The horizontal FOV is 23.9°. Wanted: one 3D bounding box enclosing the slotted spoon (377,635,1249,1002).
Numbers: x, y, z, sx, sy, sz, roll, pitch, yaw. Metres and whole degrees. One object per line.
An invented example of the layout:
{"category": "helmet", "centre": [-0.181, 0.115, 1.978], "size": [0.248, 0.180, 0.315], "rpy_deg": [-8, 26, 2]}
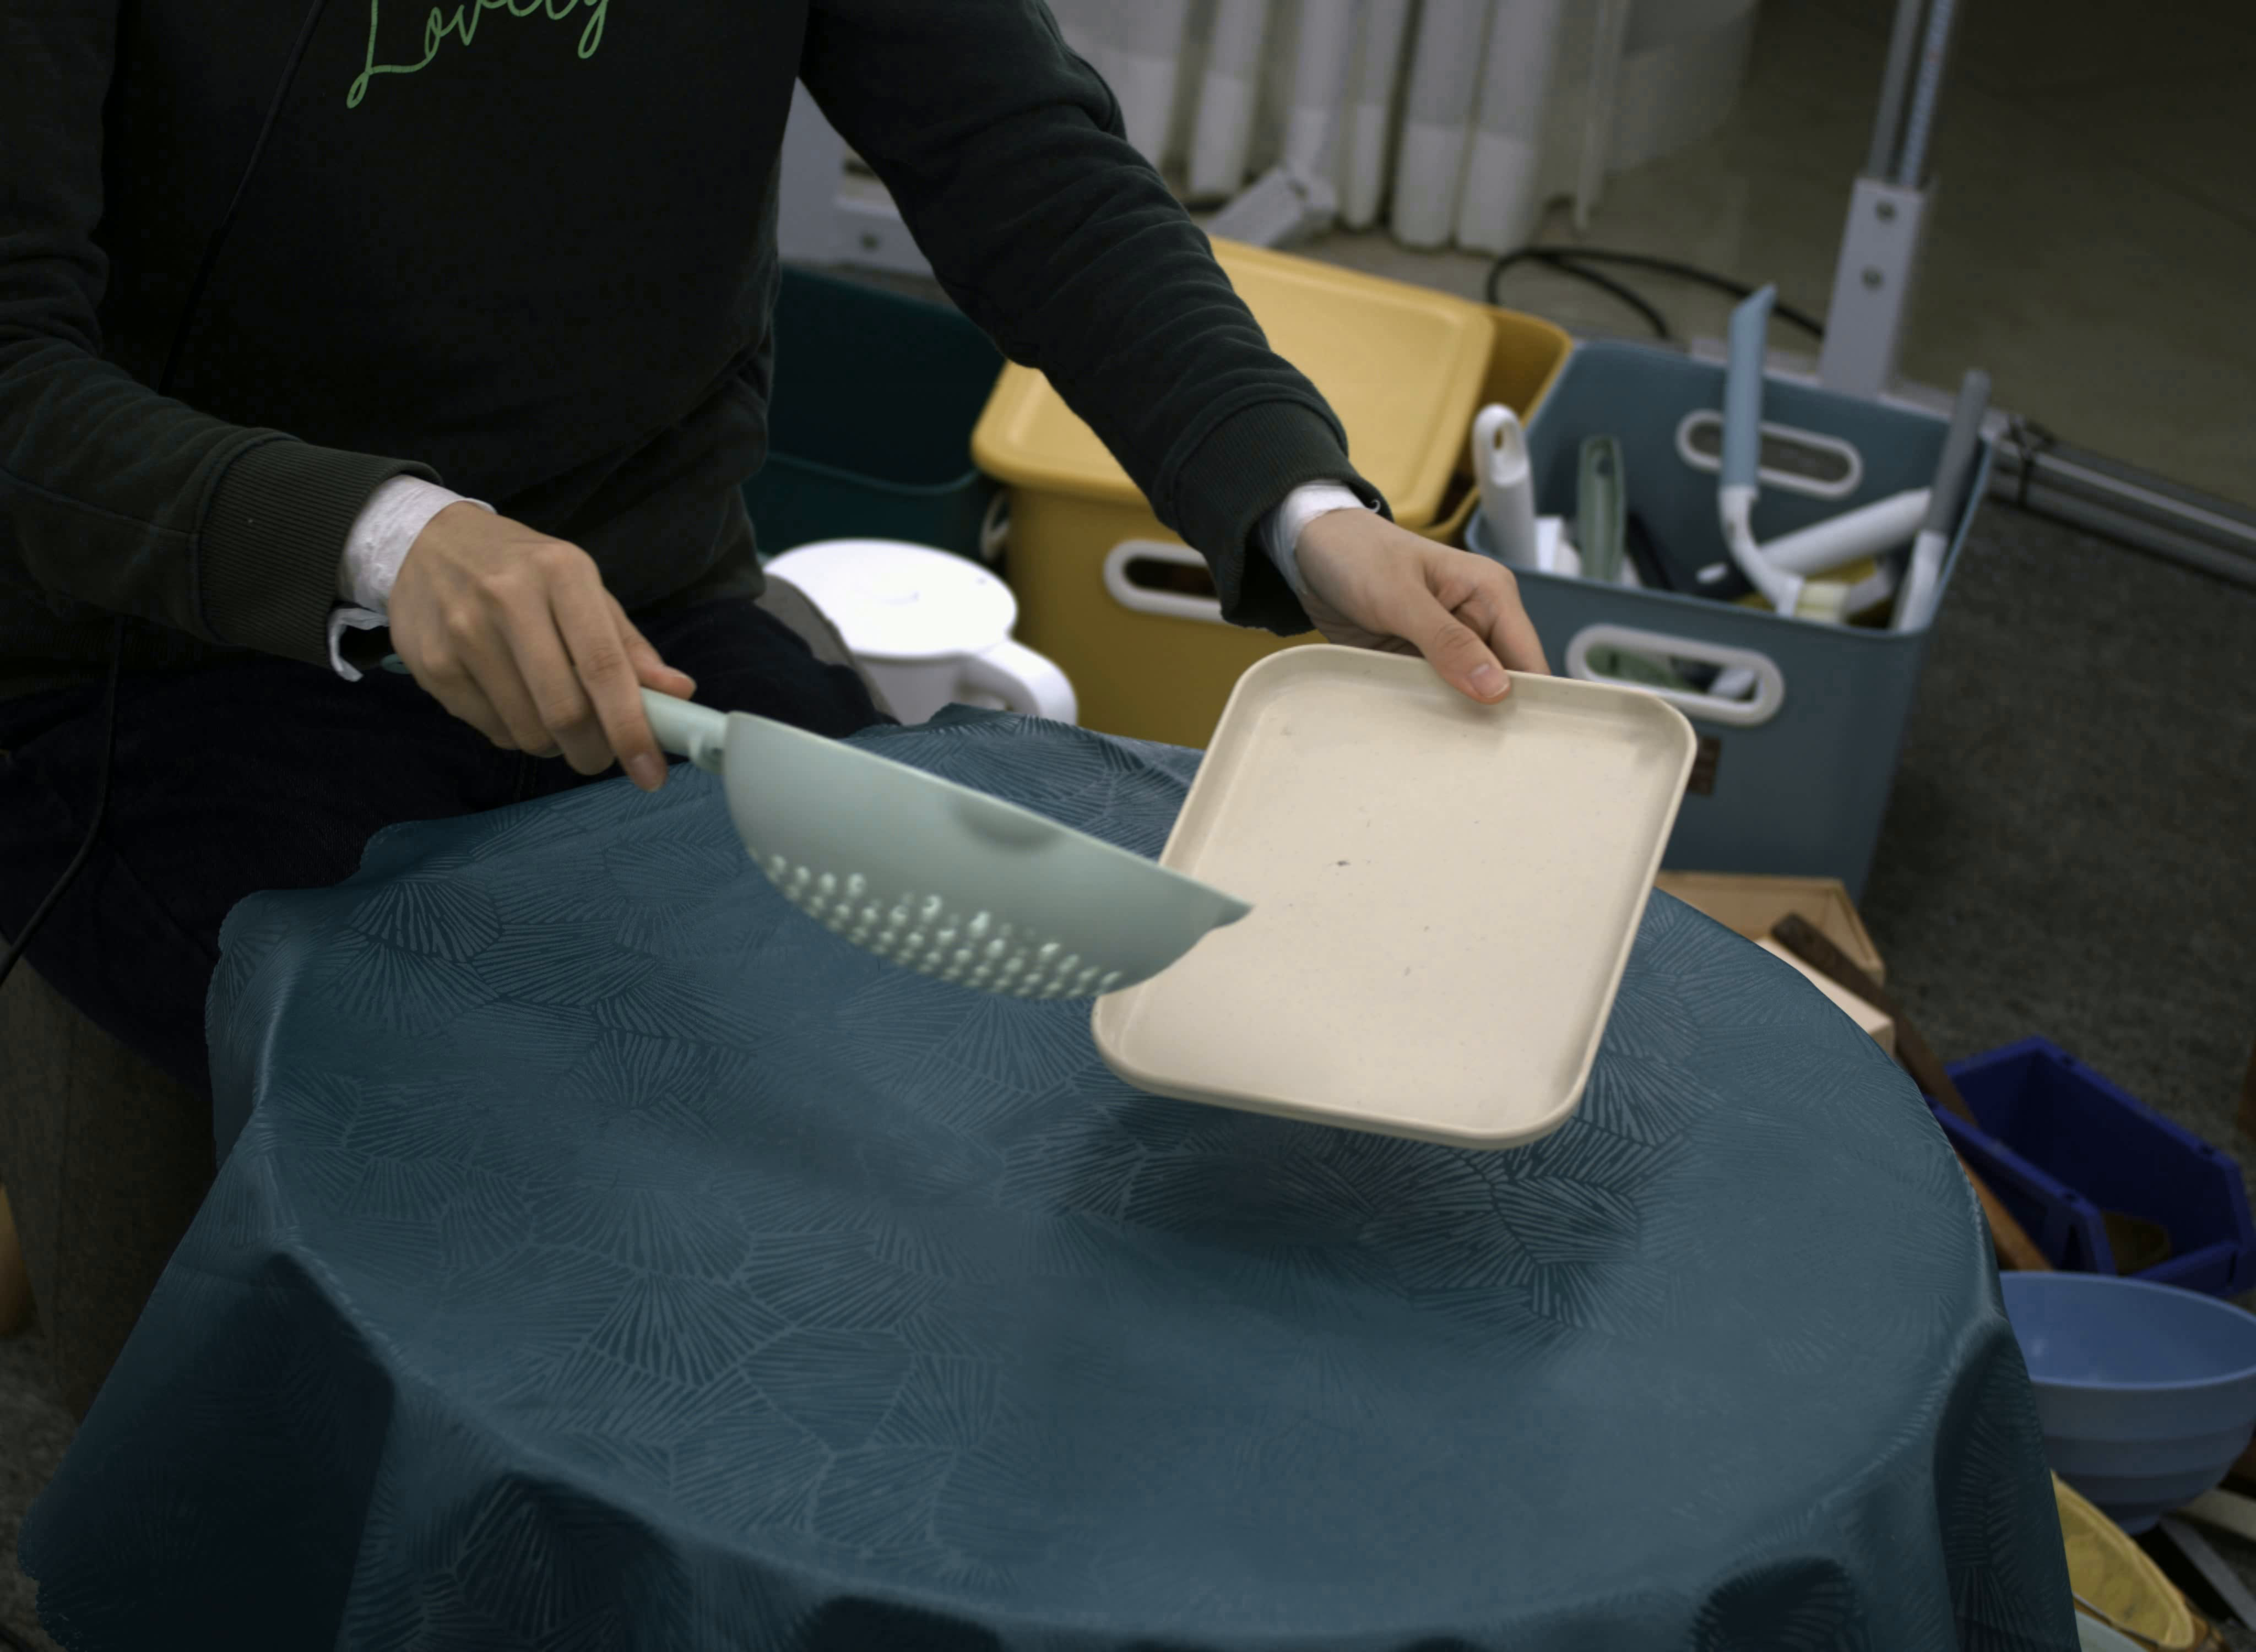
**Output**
{"category": "slotted spoon", "centre": [-0.124, -0.018, 1.742], "size": [0.361, 0.075, 0.168], "rpy_deg": [28, 2, 41]}

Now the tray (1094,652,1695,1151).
{"category": "tray", "centre": [0.095, 0.024, 1.835], "size": [0.171, 0.017, 0.241], "rpy_deg": [9, 41, 14]}
